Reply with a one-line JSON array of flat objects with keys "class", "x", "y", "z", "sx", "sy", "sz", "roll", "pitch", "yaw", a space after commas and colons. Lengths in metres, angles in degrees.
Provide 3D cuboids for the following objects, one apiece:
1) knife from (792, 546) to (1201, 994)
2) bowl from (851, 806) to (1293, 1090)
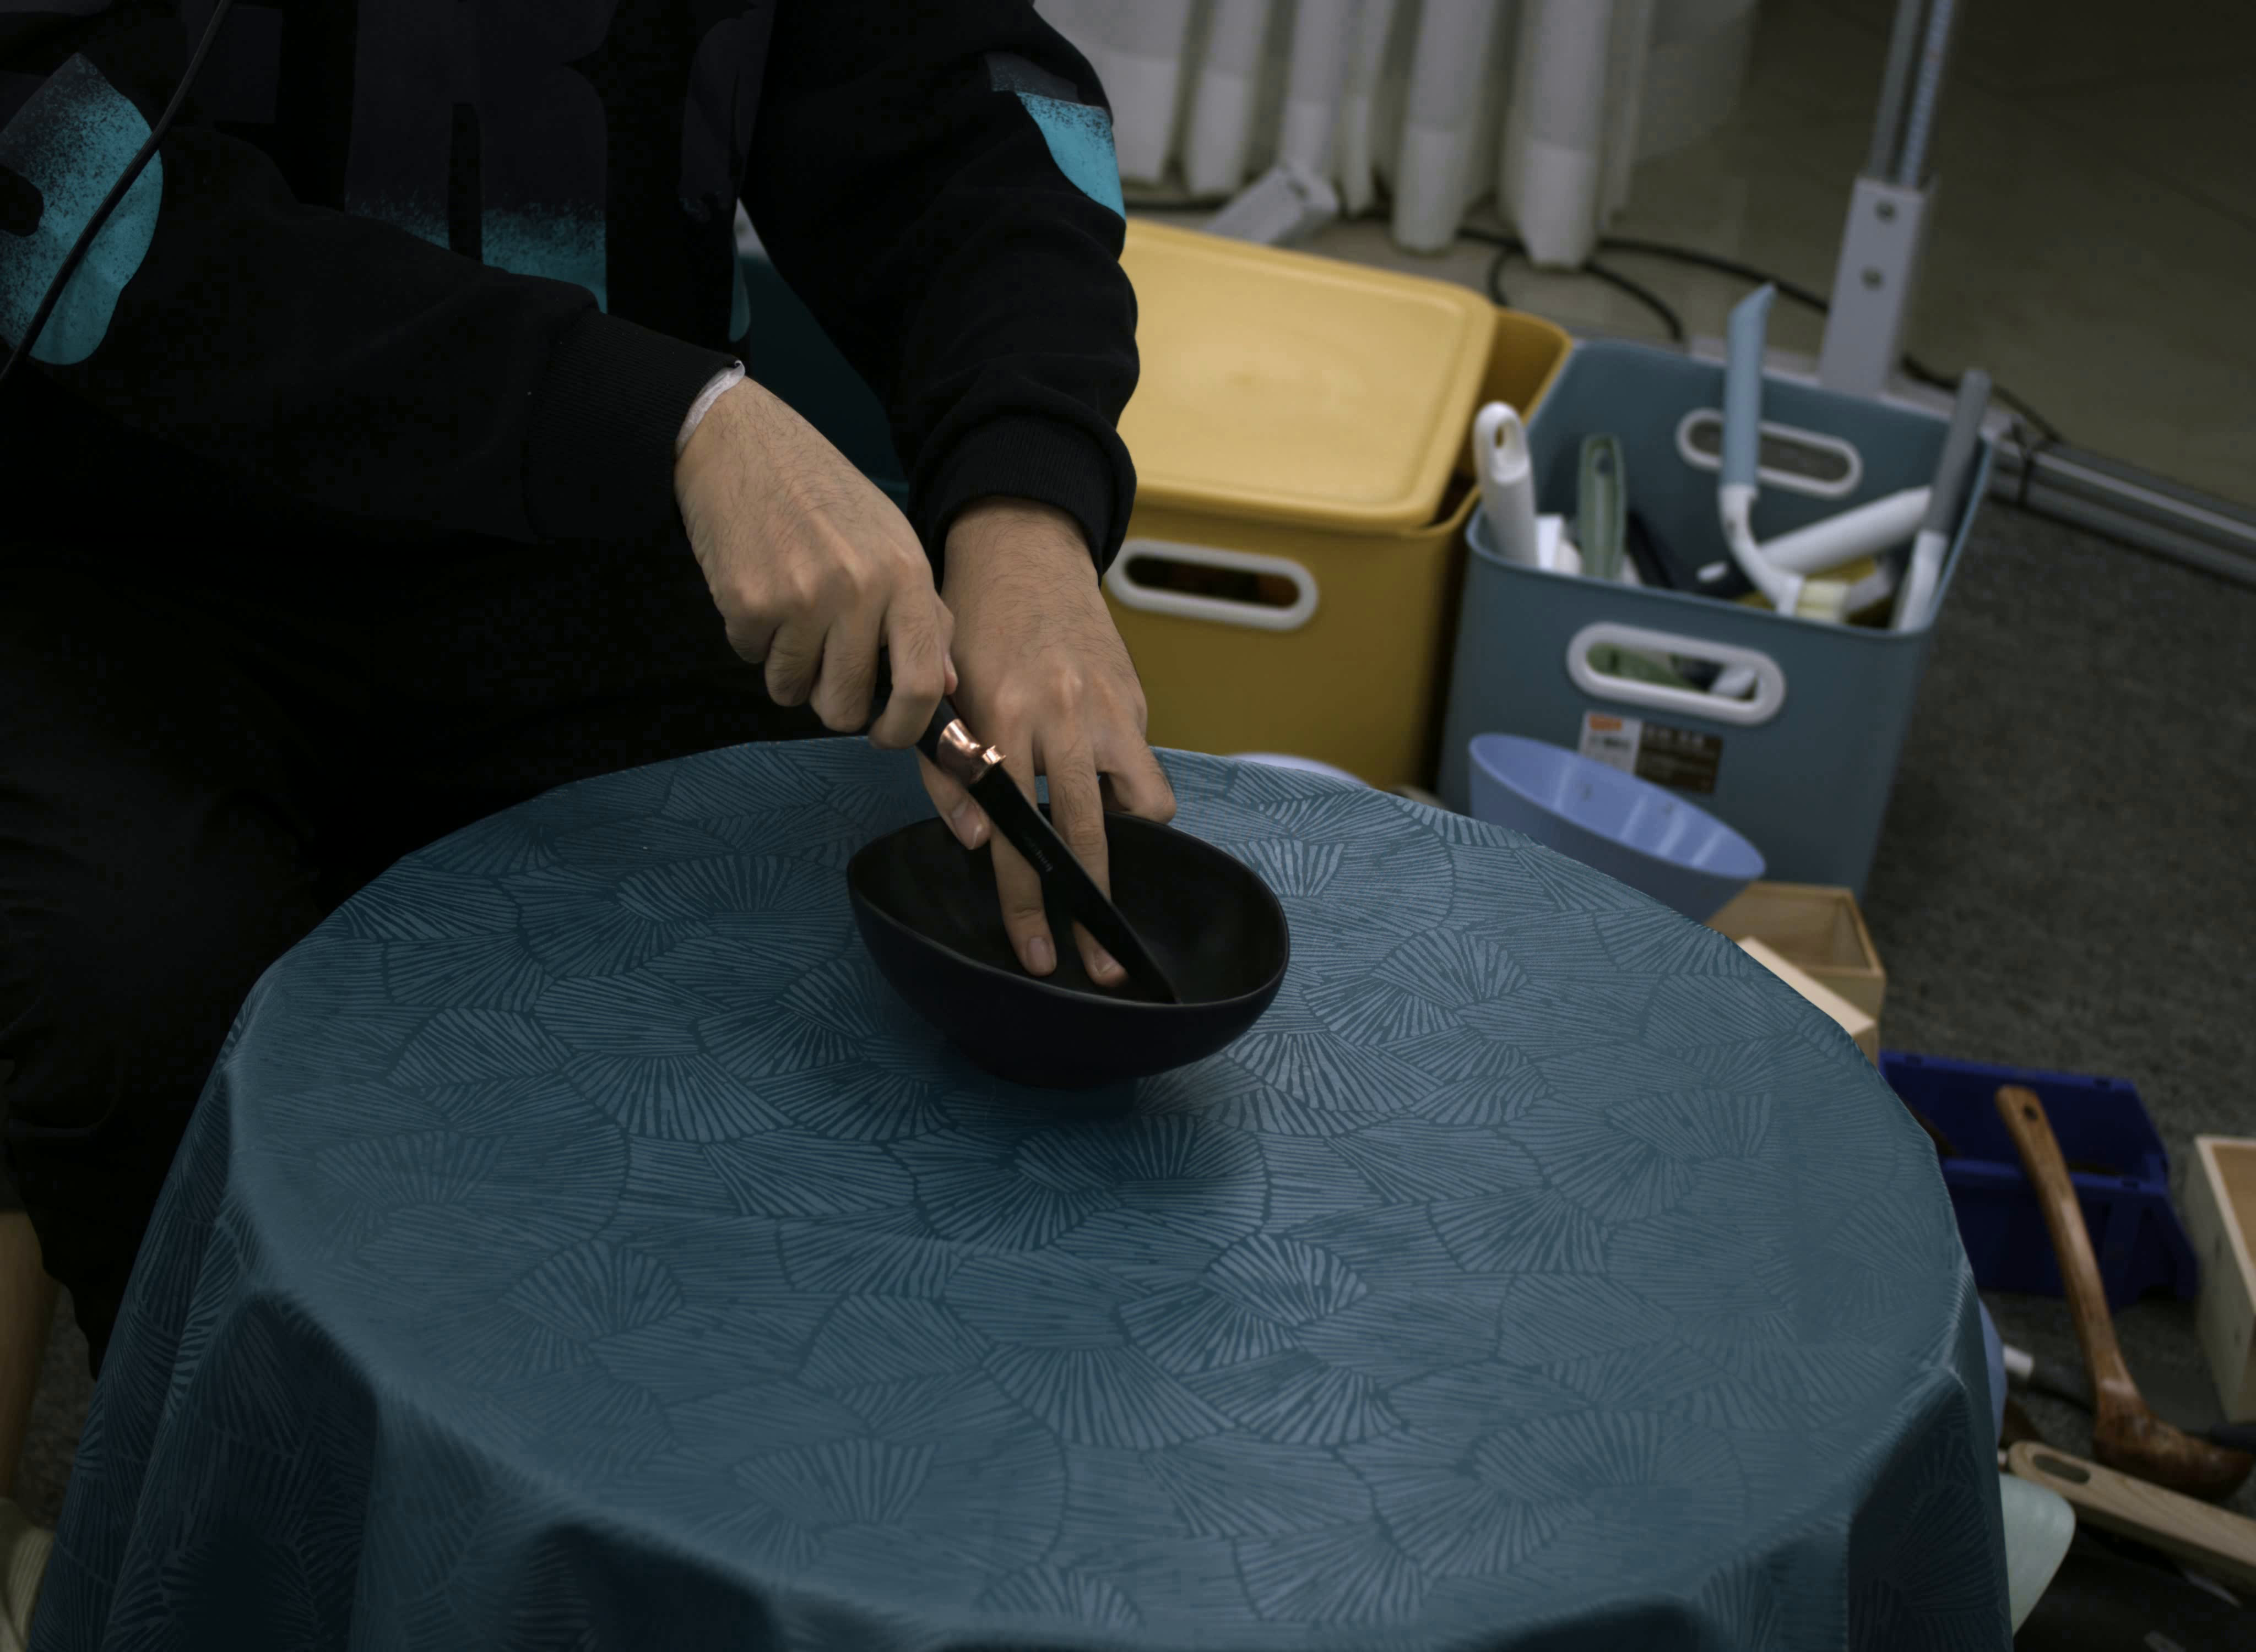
[{"class": "knife", "x": -0.047, "y": -0.017, "z": 1.891, "sx": 0.017, "sy": 0.026, "sz": 0.227, "roll": -29, "pitch": 70, "yaw": -36}, {"class": "bowl", "x": -0.023, "y": 0.050, "z": 1.870, "sx": 0.171, "sy": 0.066, "sz": 0.137, "roll": 22, "pitch": 30, "yaw": 31}]
